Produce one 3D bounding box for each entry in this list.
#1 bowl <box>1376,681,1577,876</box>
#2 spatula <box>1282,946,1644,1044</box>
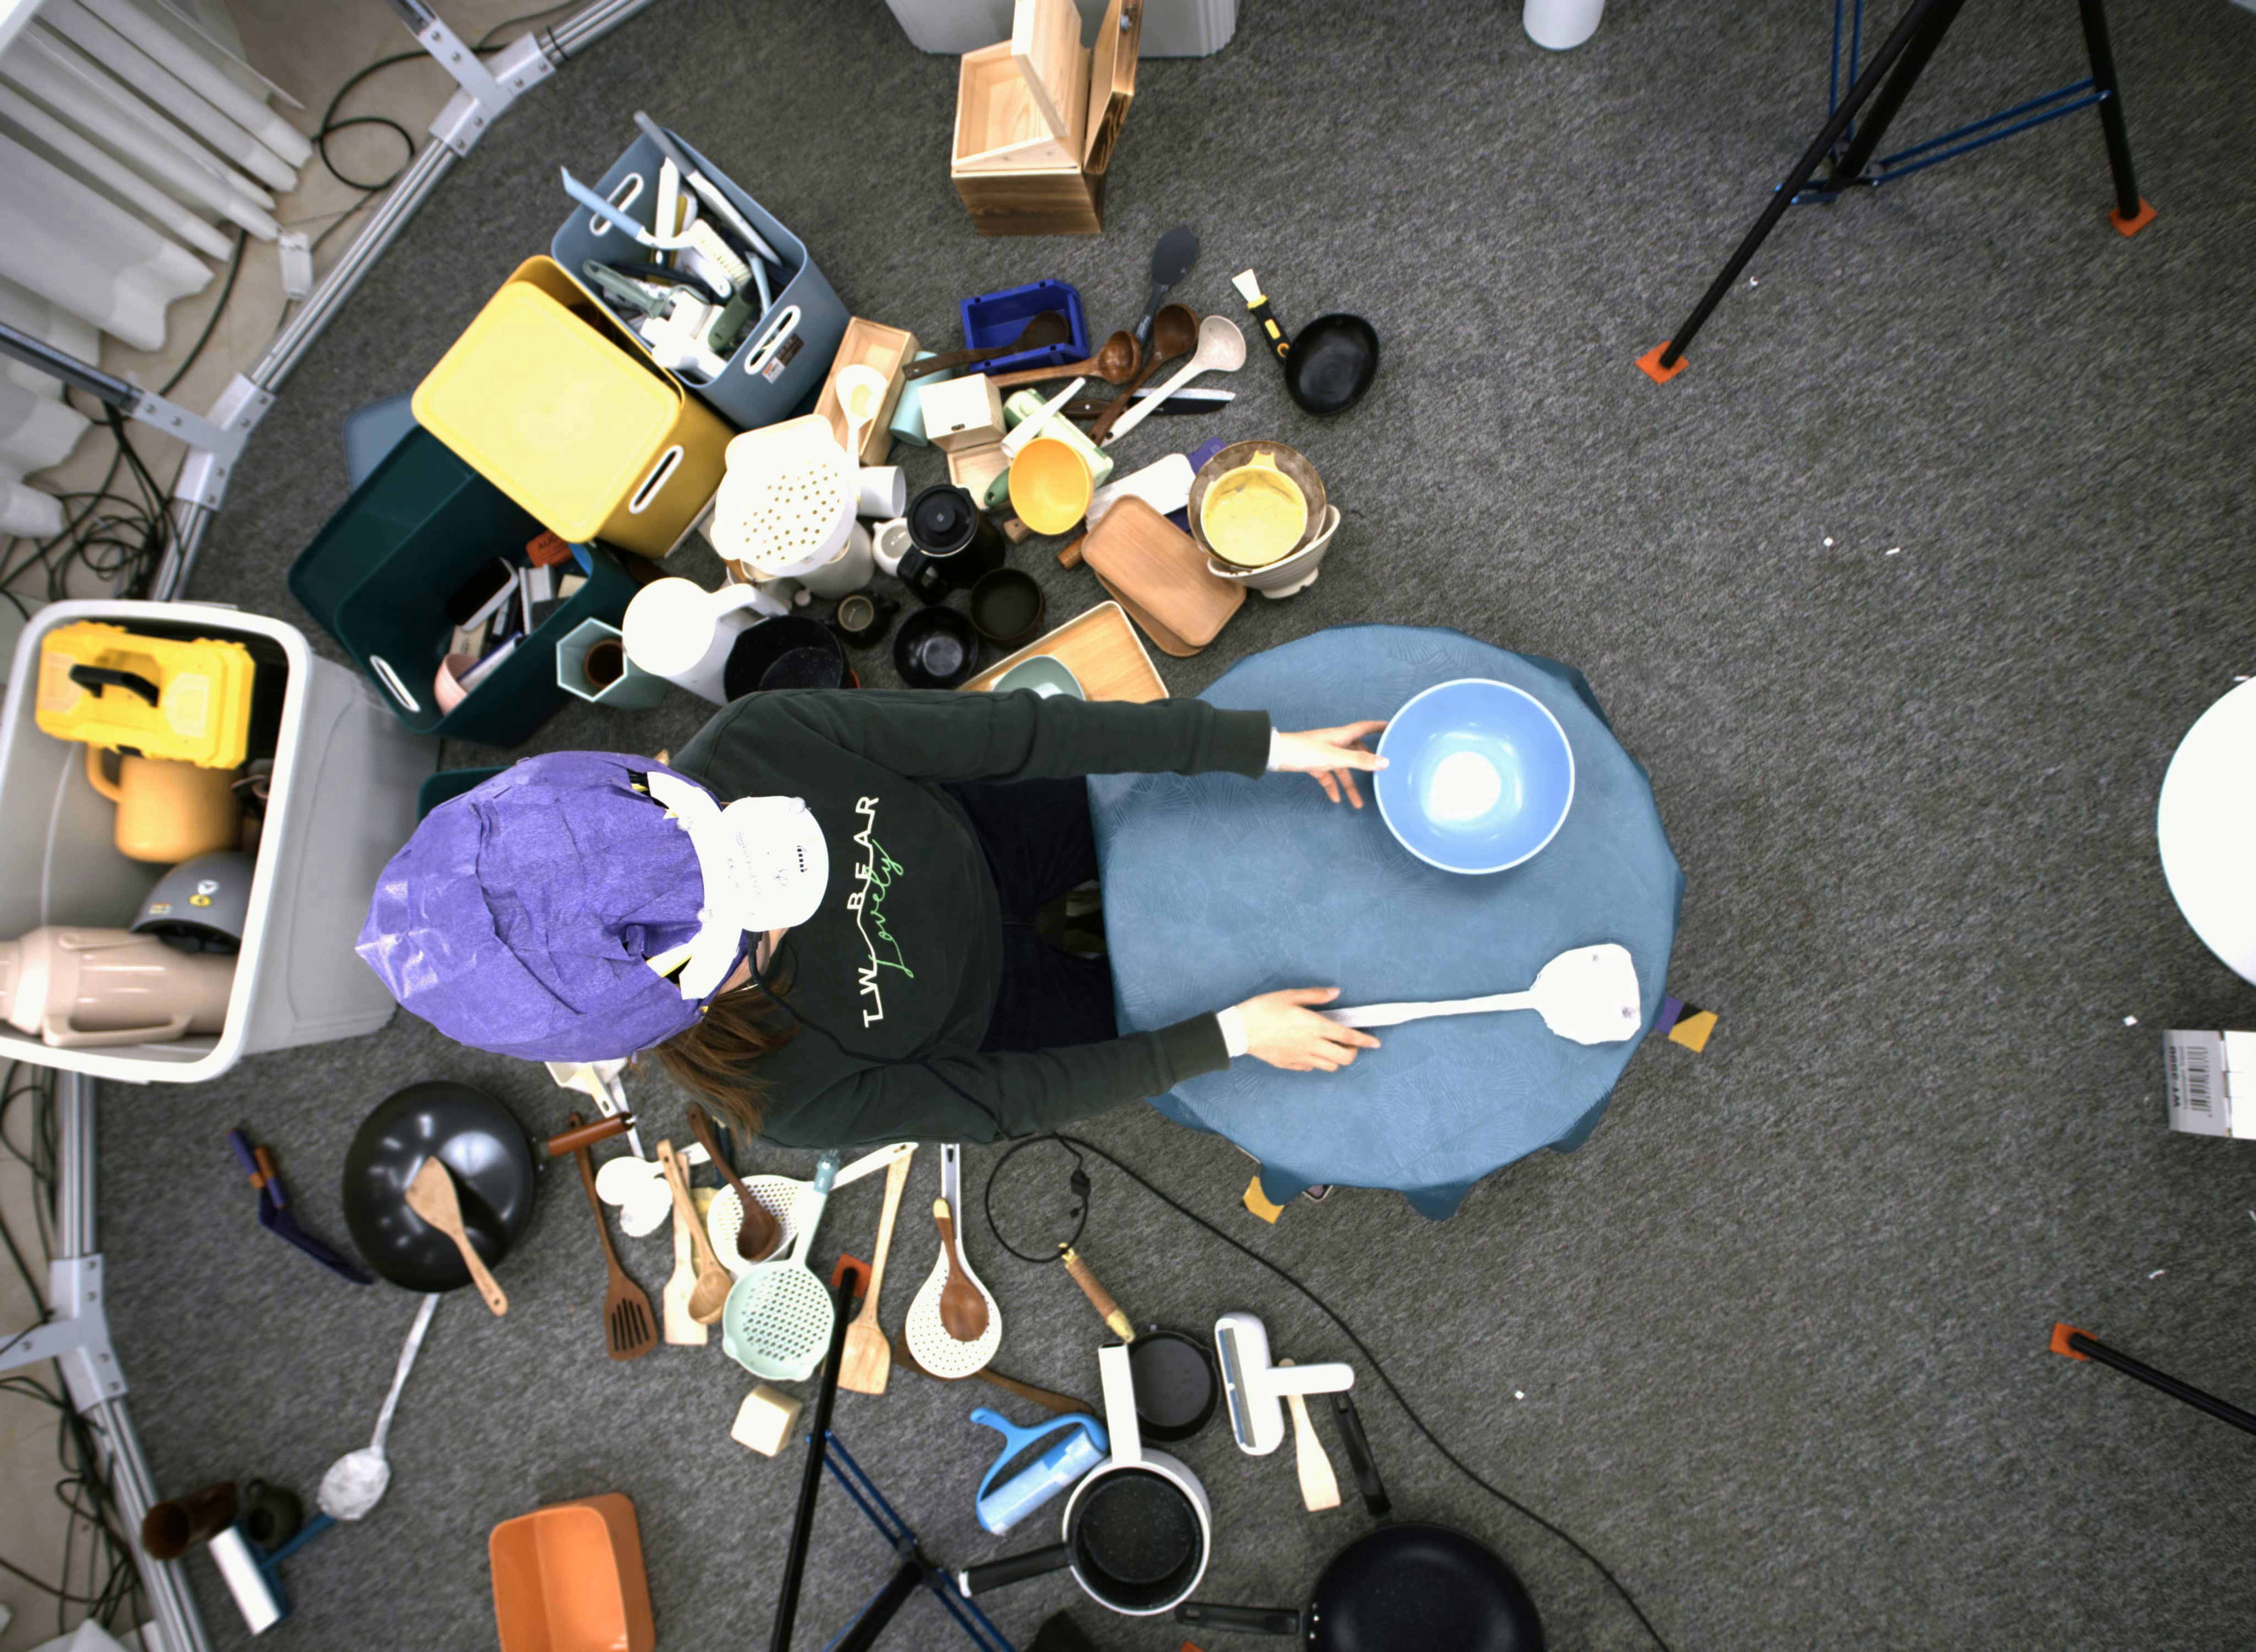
[{"bbox_3d":[0.352,-0.044,1.409,0.197,0.095,0.195,-1,85,9],"label":"bowl"},{"bbox_3d":[0.340,0.184,1.425,0.366,0.045,0.098,-6,87,10],"label":"spatula"}]
